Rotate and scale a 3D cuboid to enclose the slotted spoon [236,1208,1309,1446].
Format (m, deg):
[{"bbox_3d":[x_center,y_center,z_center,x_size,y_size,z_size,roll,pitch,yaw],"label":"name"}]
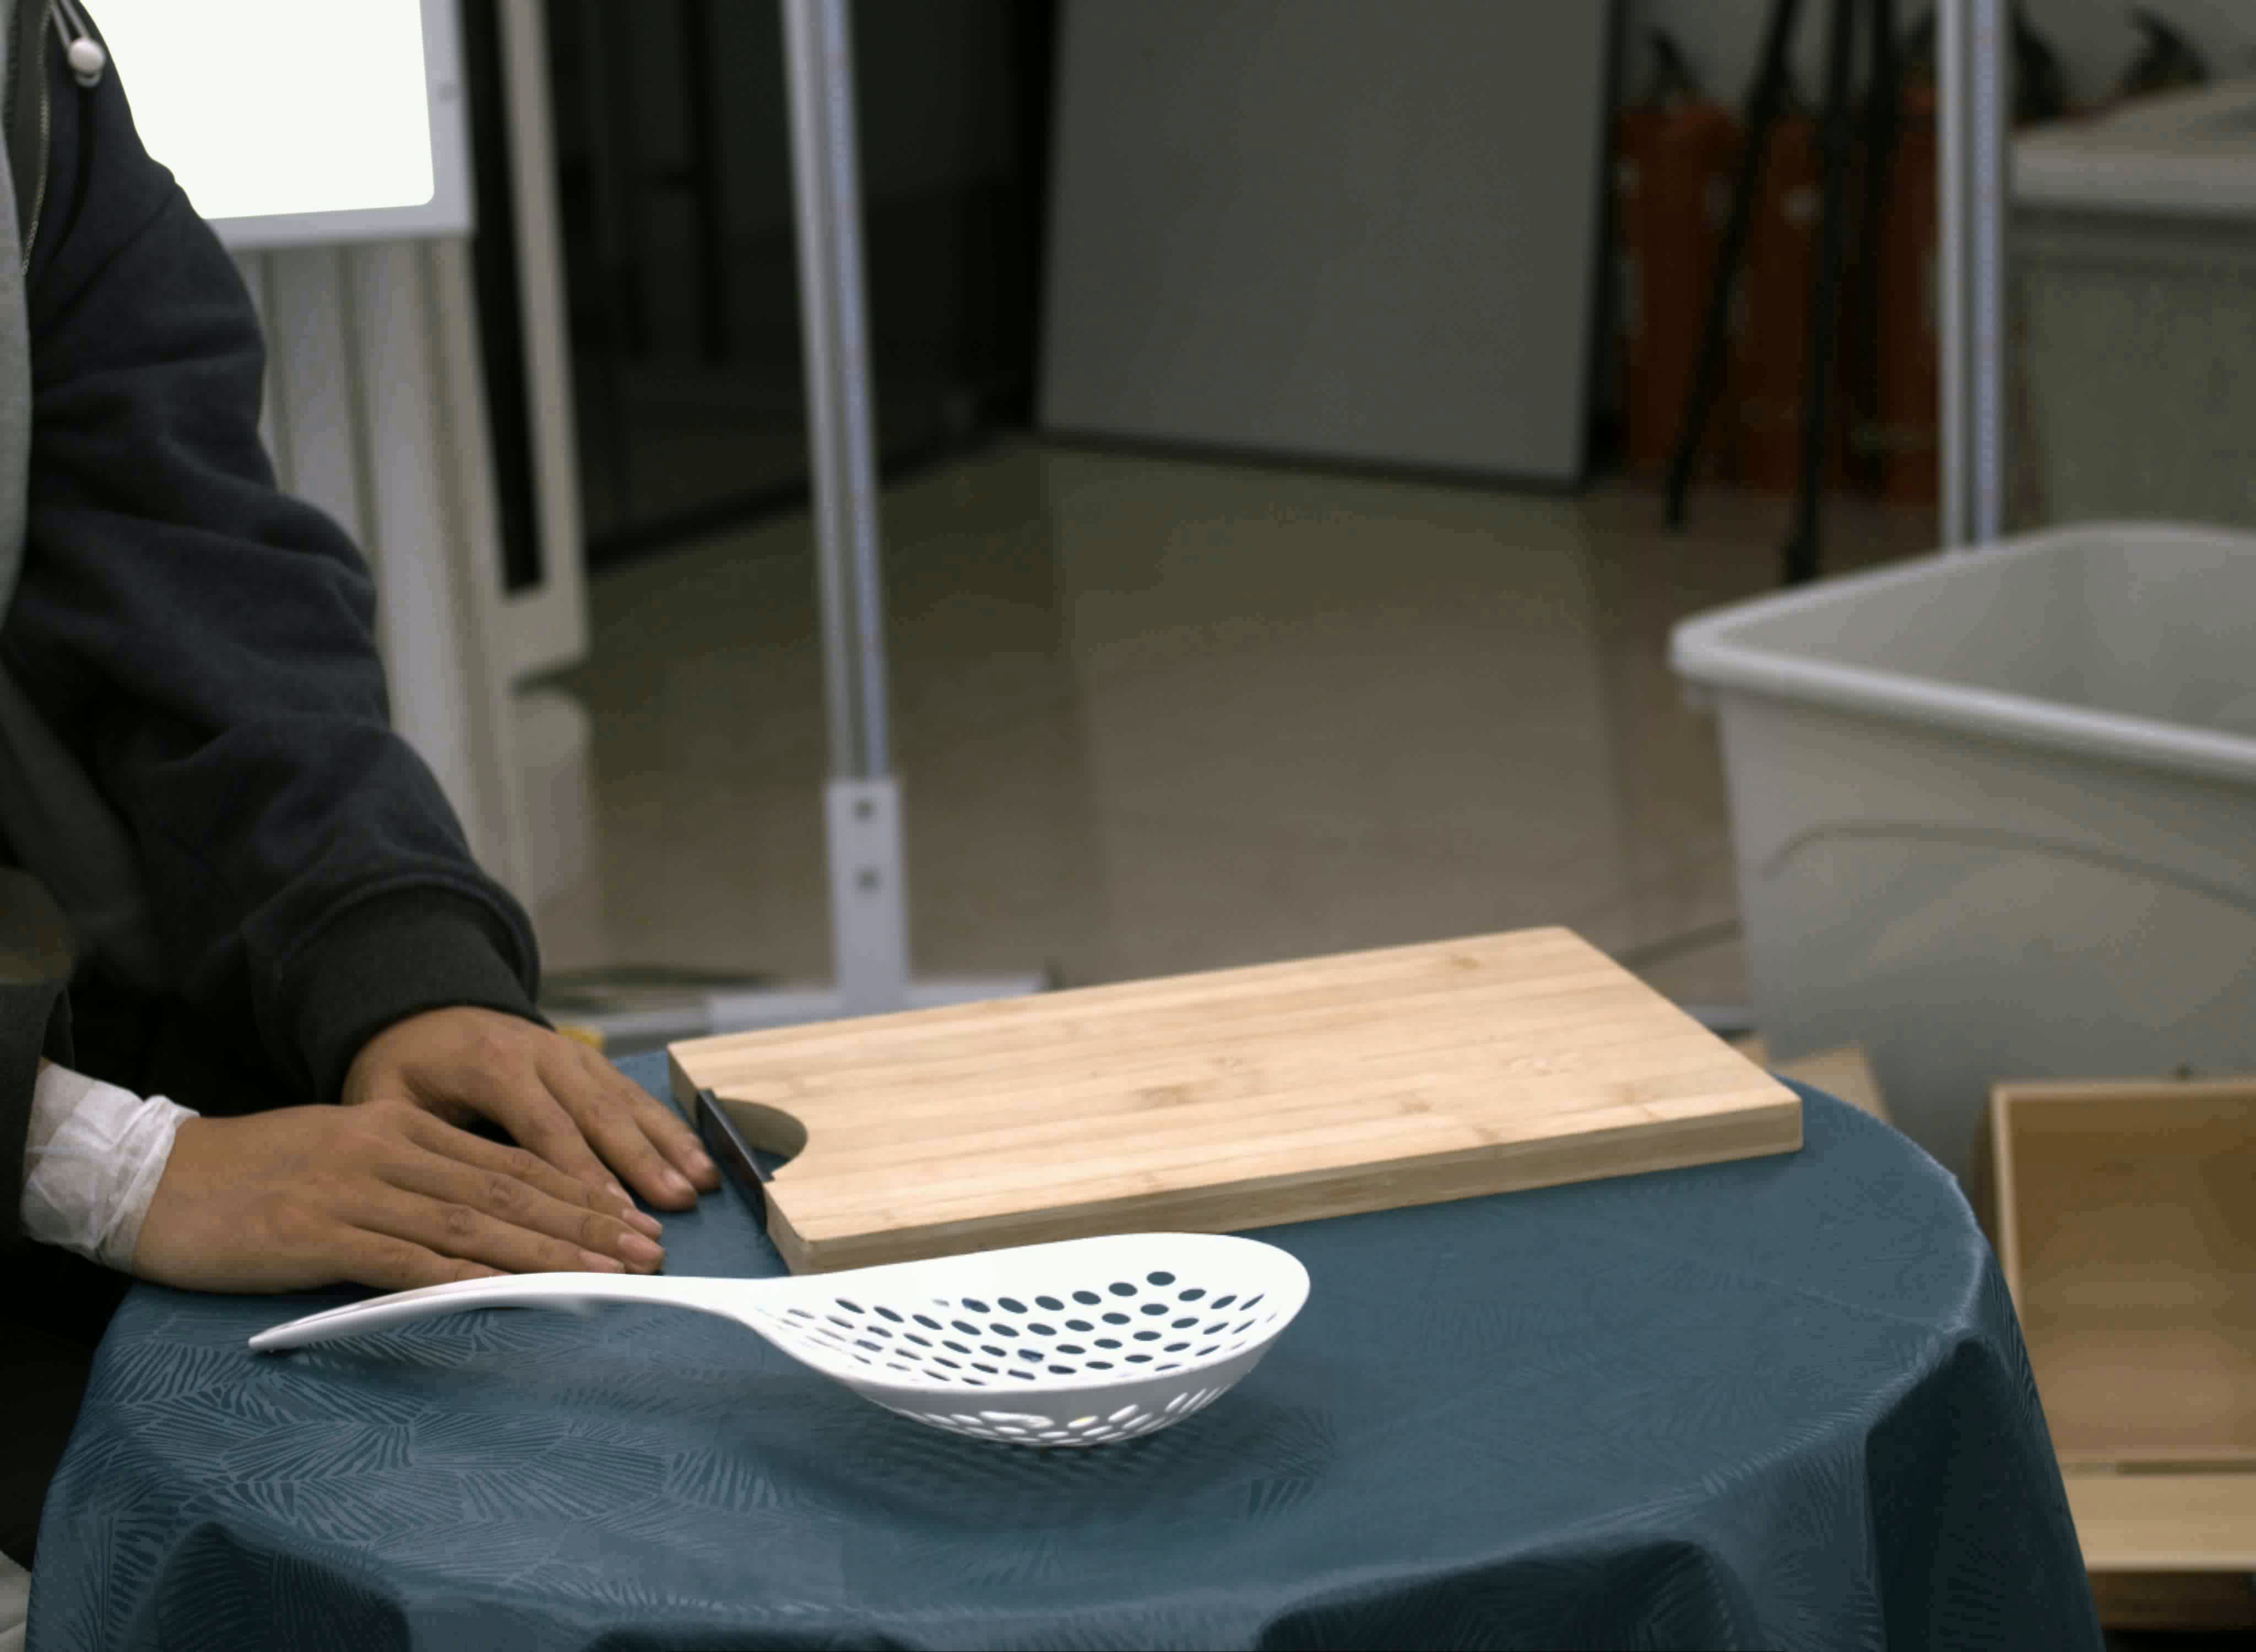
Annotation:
[{"bbox_3d":[-0.112,0.150,1.595,0.348,0.051,0.135,2,17,24],"label":"slotted spoon"}]

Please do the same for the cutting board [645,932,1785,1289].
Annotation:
[{"bbox_3d":[0.025,0.095,1.837,0.342,0.024,0.252,-8,14,-14],"label":"cutting board"}]
